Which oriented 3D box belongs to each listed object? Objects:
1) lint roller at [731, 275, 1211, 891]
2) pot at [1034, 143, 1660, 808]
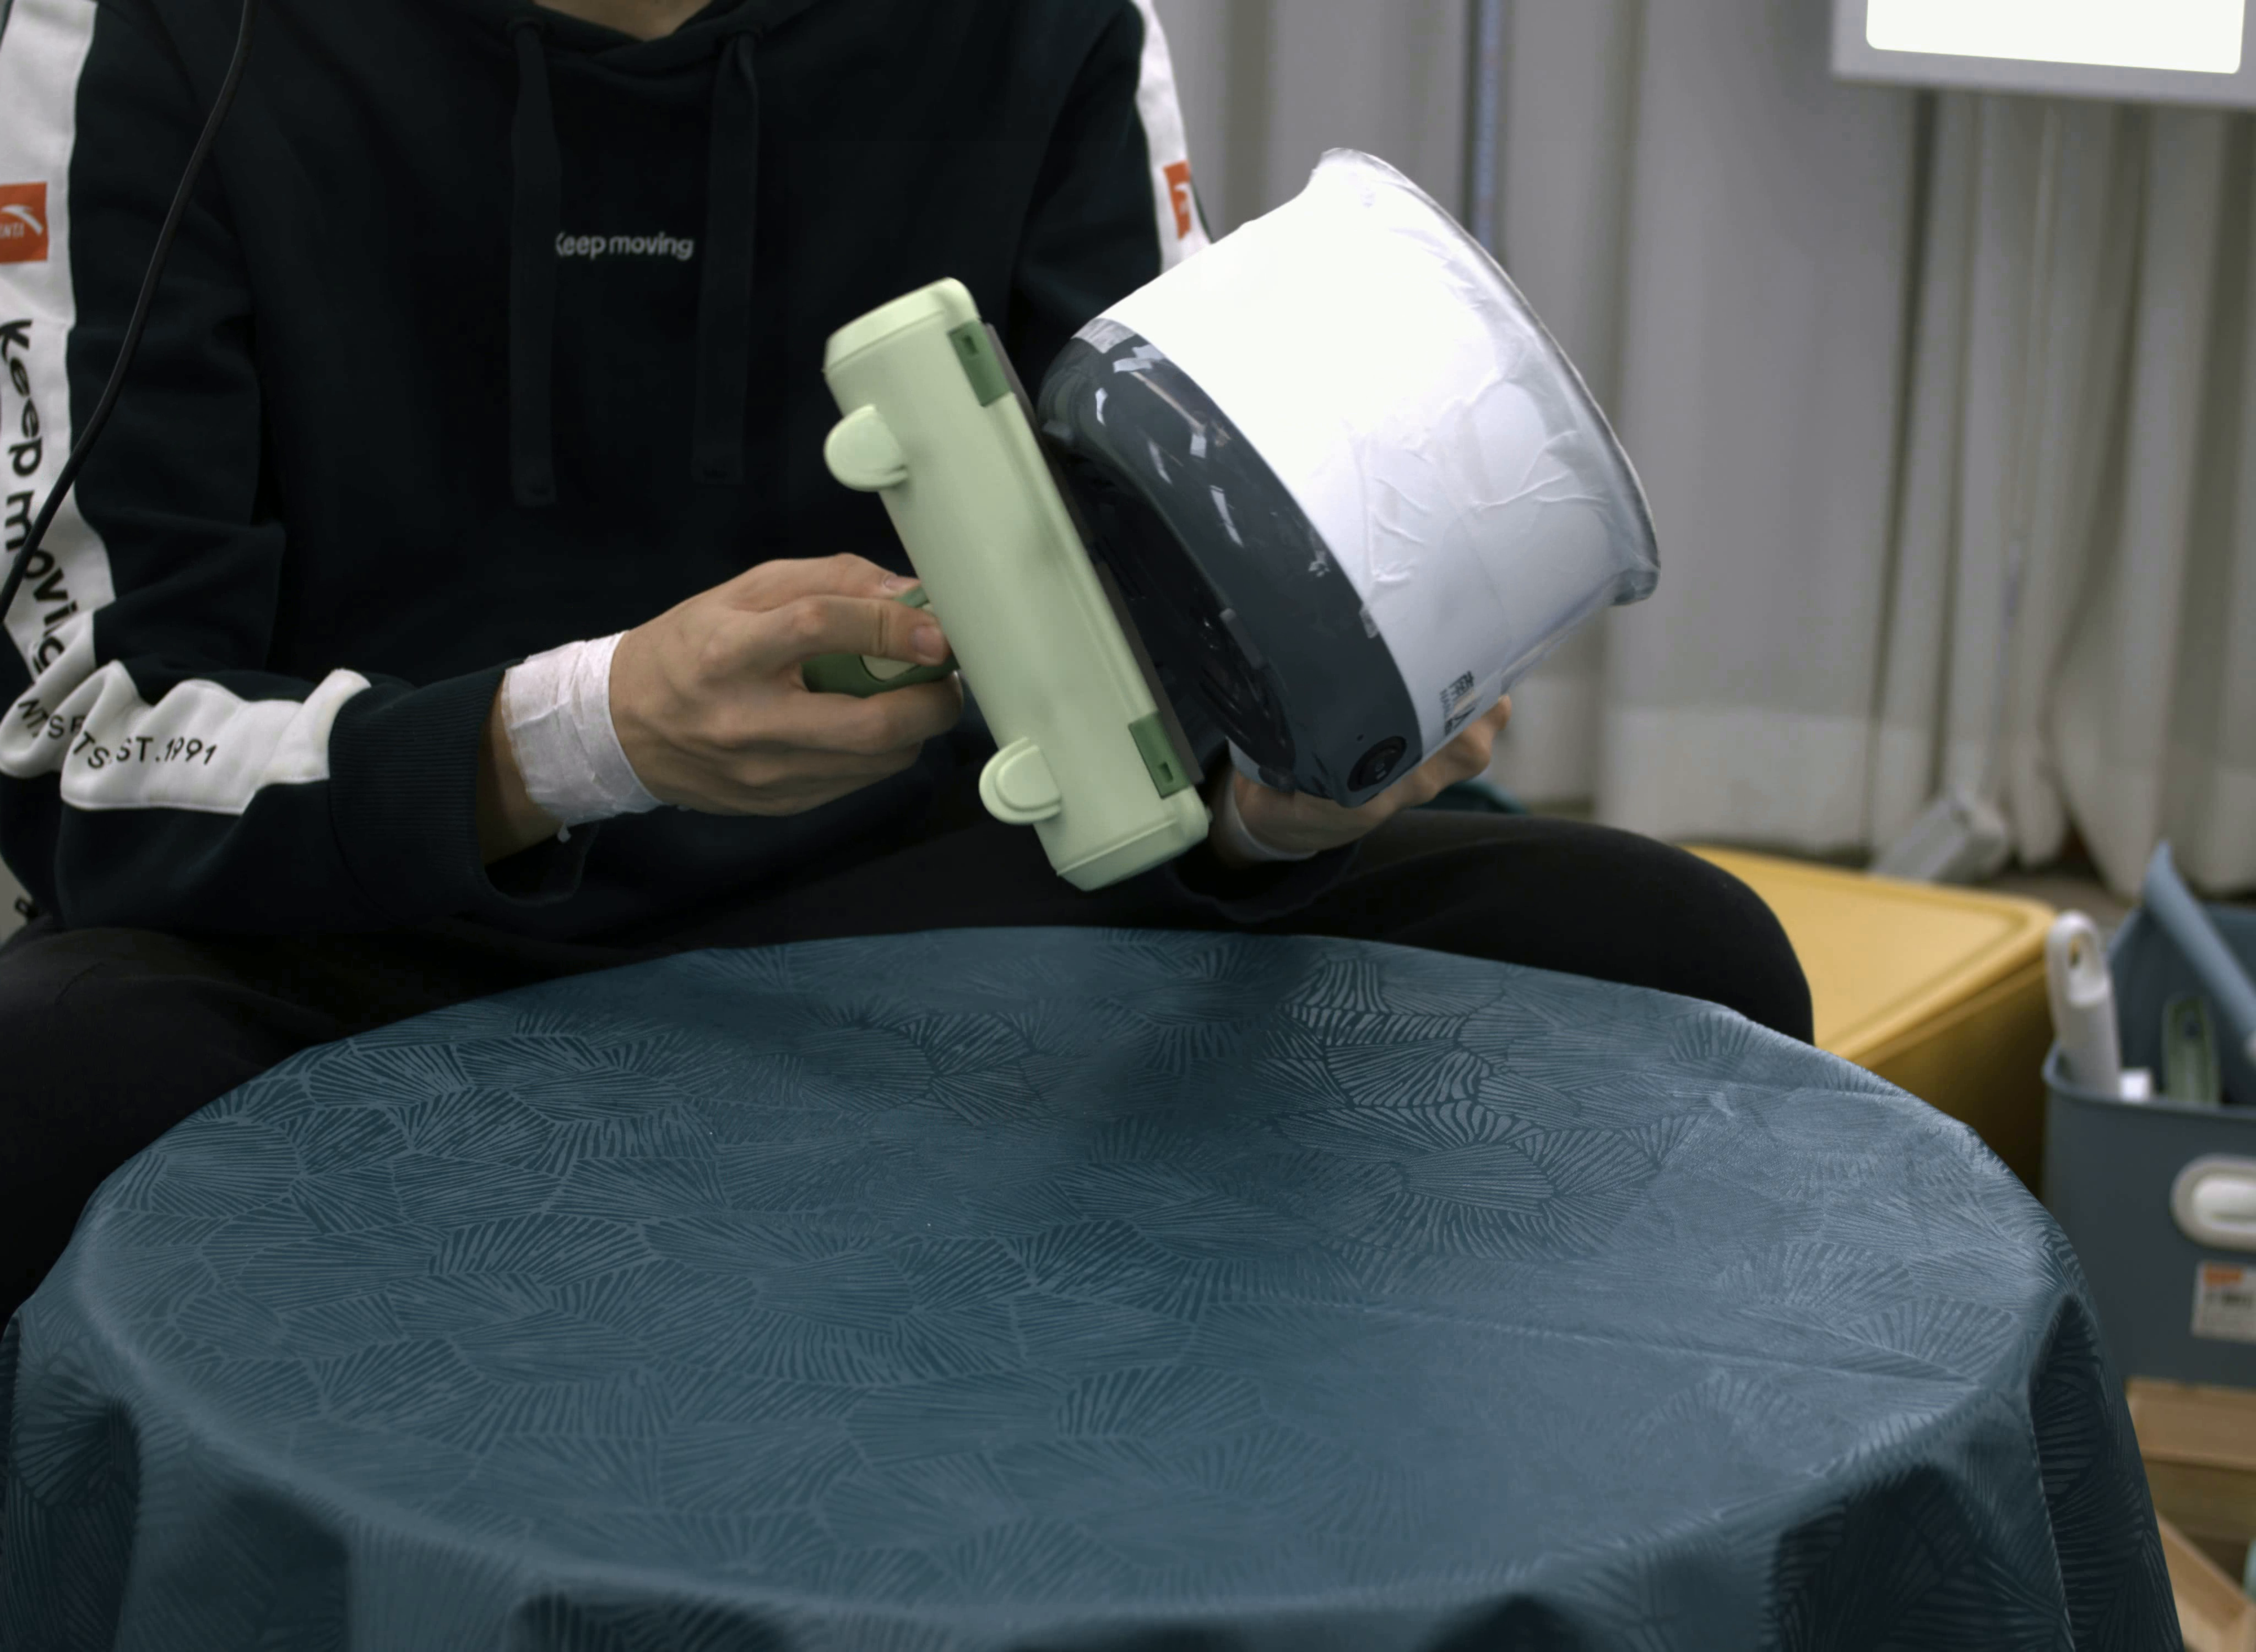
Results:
[{"bbox_3d":[-0.080,-0.056,1.695,0.182,0.199,0.082,-24,2,36],"label":"lint roller"},{"bbox_3d":[0.068,-0.096,1.706,0.136,0.236,0.177,-36,65,-9],"label":"pot"}]
